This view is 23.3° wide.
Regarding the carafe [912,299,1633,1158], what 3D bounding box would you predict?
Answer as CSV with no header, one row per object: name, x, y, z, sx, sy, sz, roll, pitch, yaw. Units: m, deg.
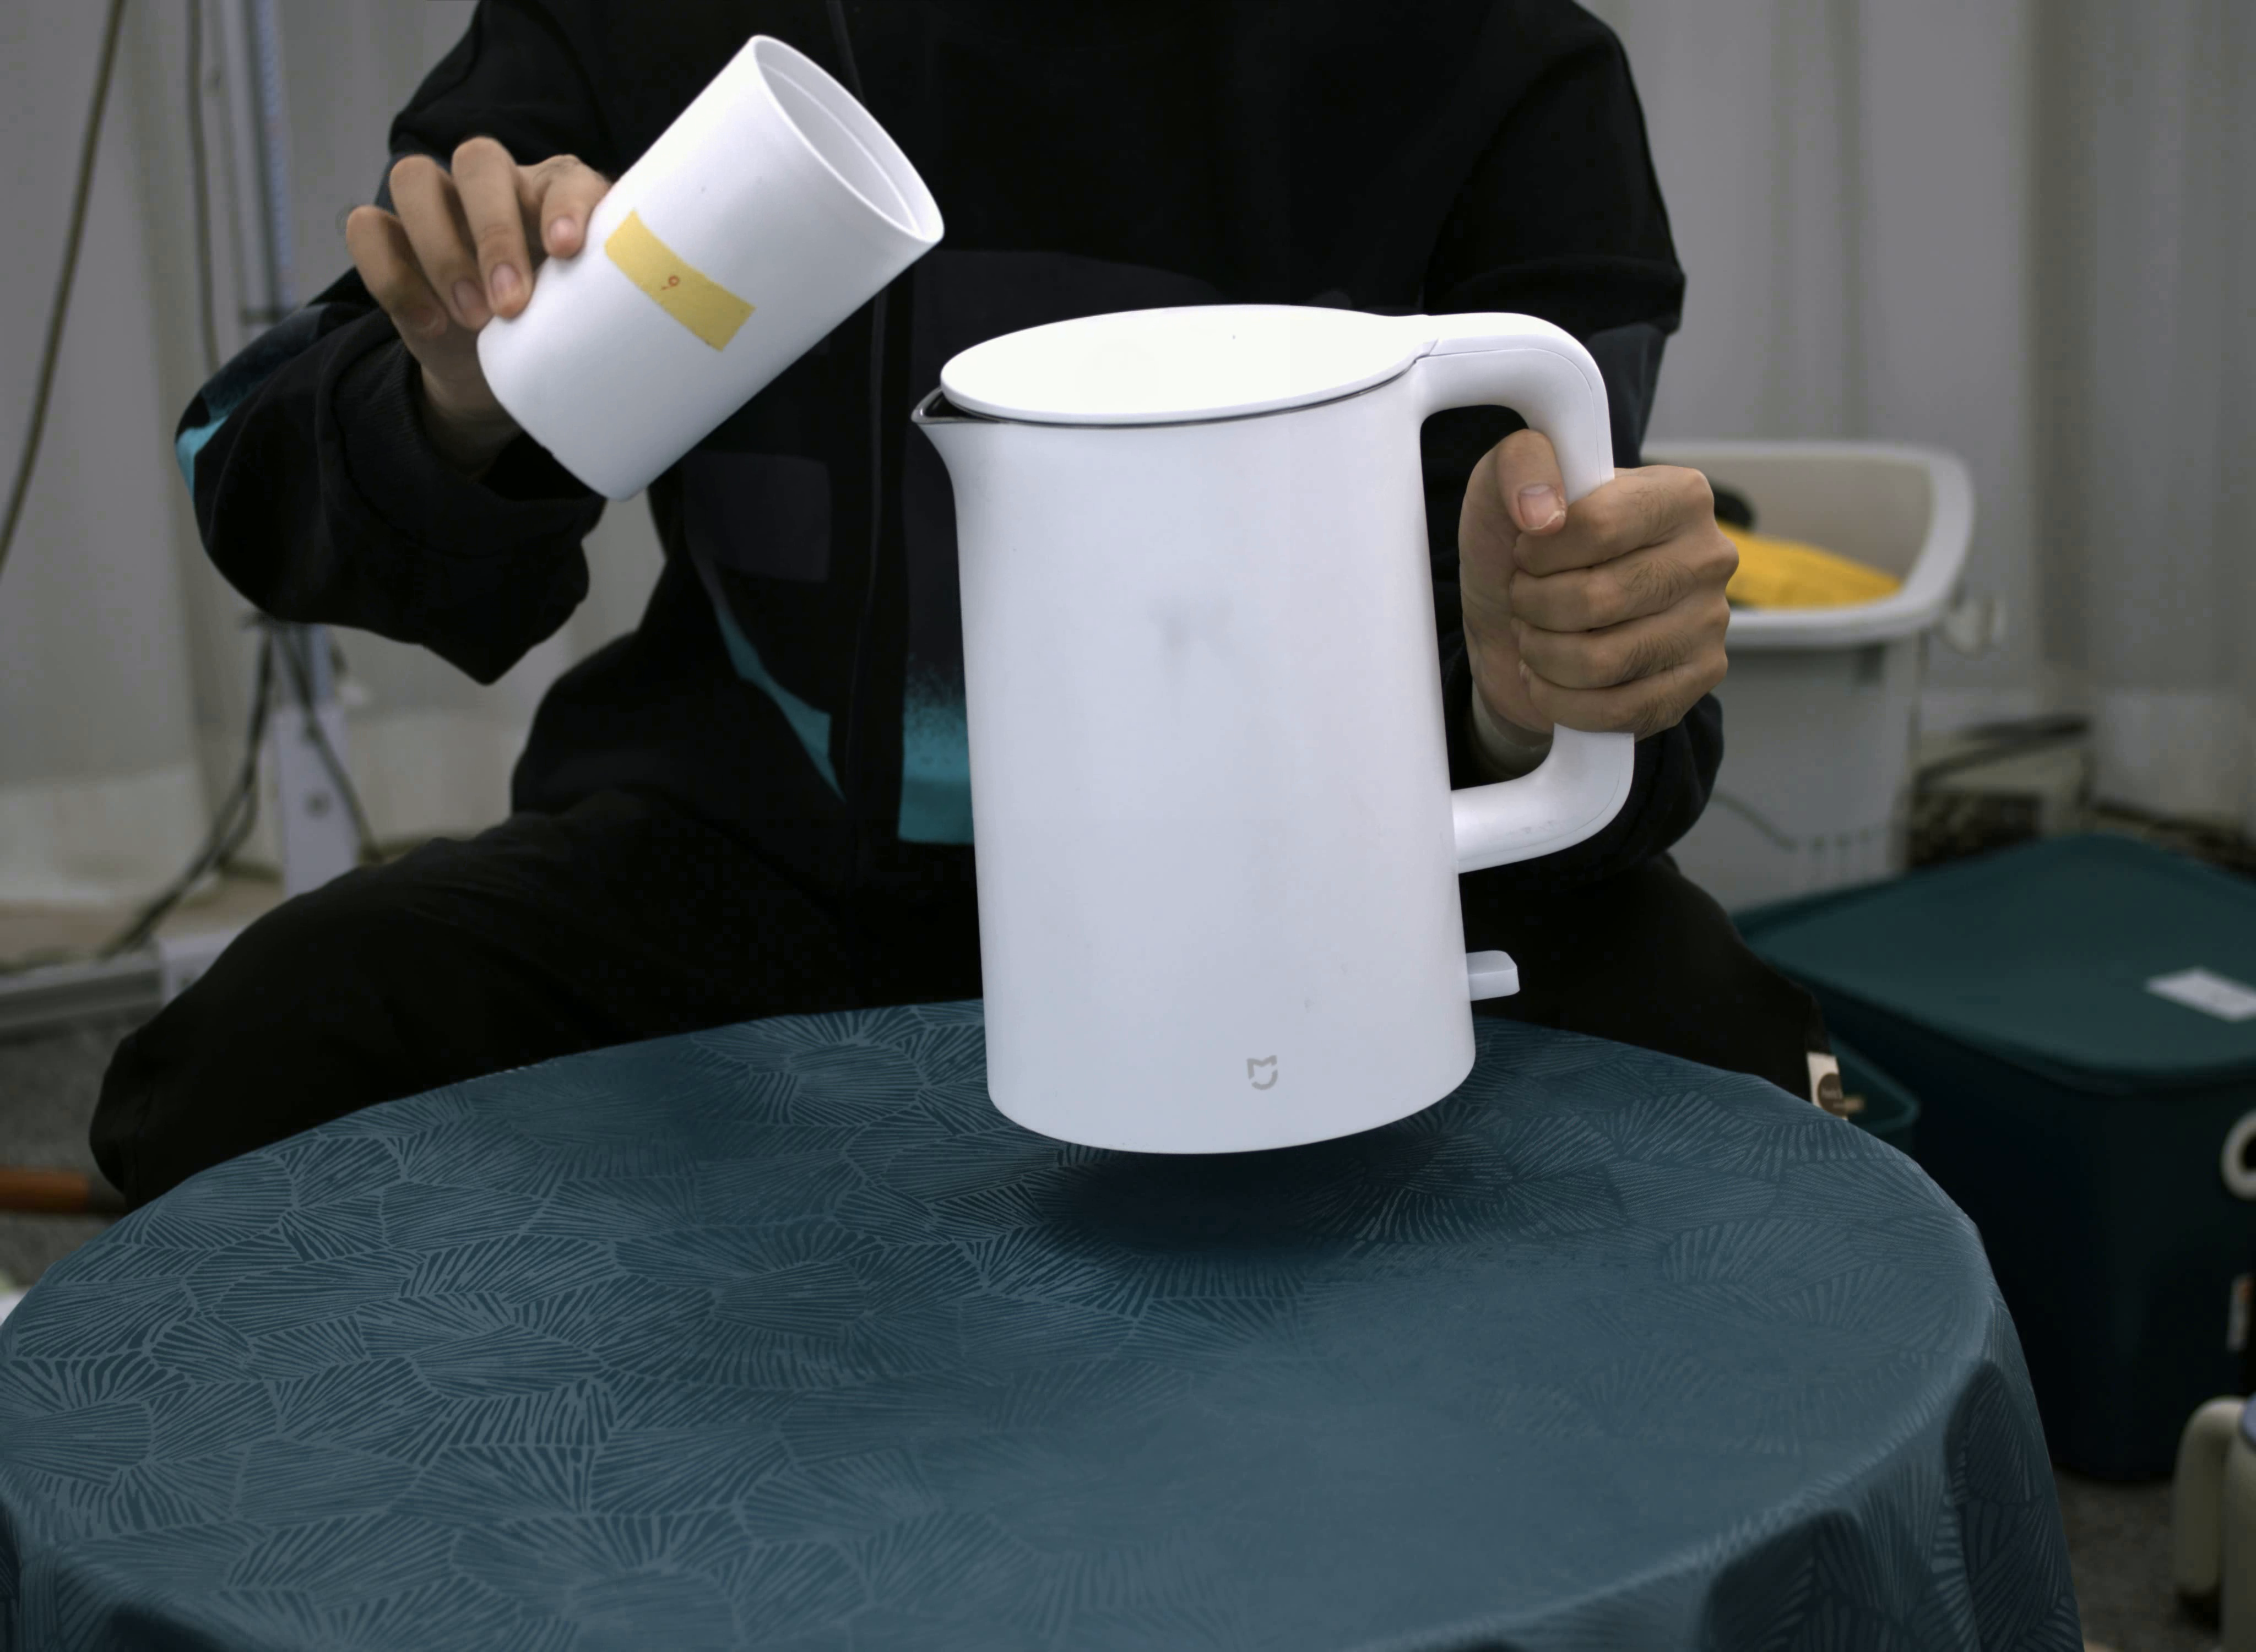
carafe,0.049,-0.035,1.674,0.212,0.239,0.153,-7,17,-8

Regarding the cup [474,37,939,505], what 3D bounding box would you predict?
cup,-0.128,-0.162,1.630,0.125,0.081,0.082,-42,6,15
